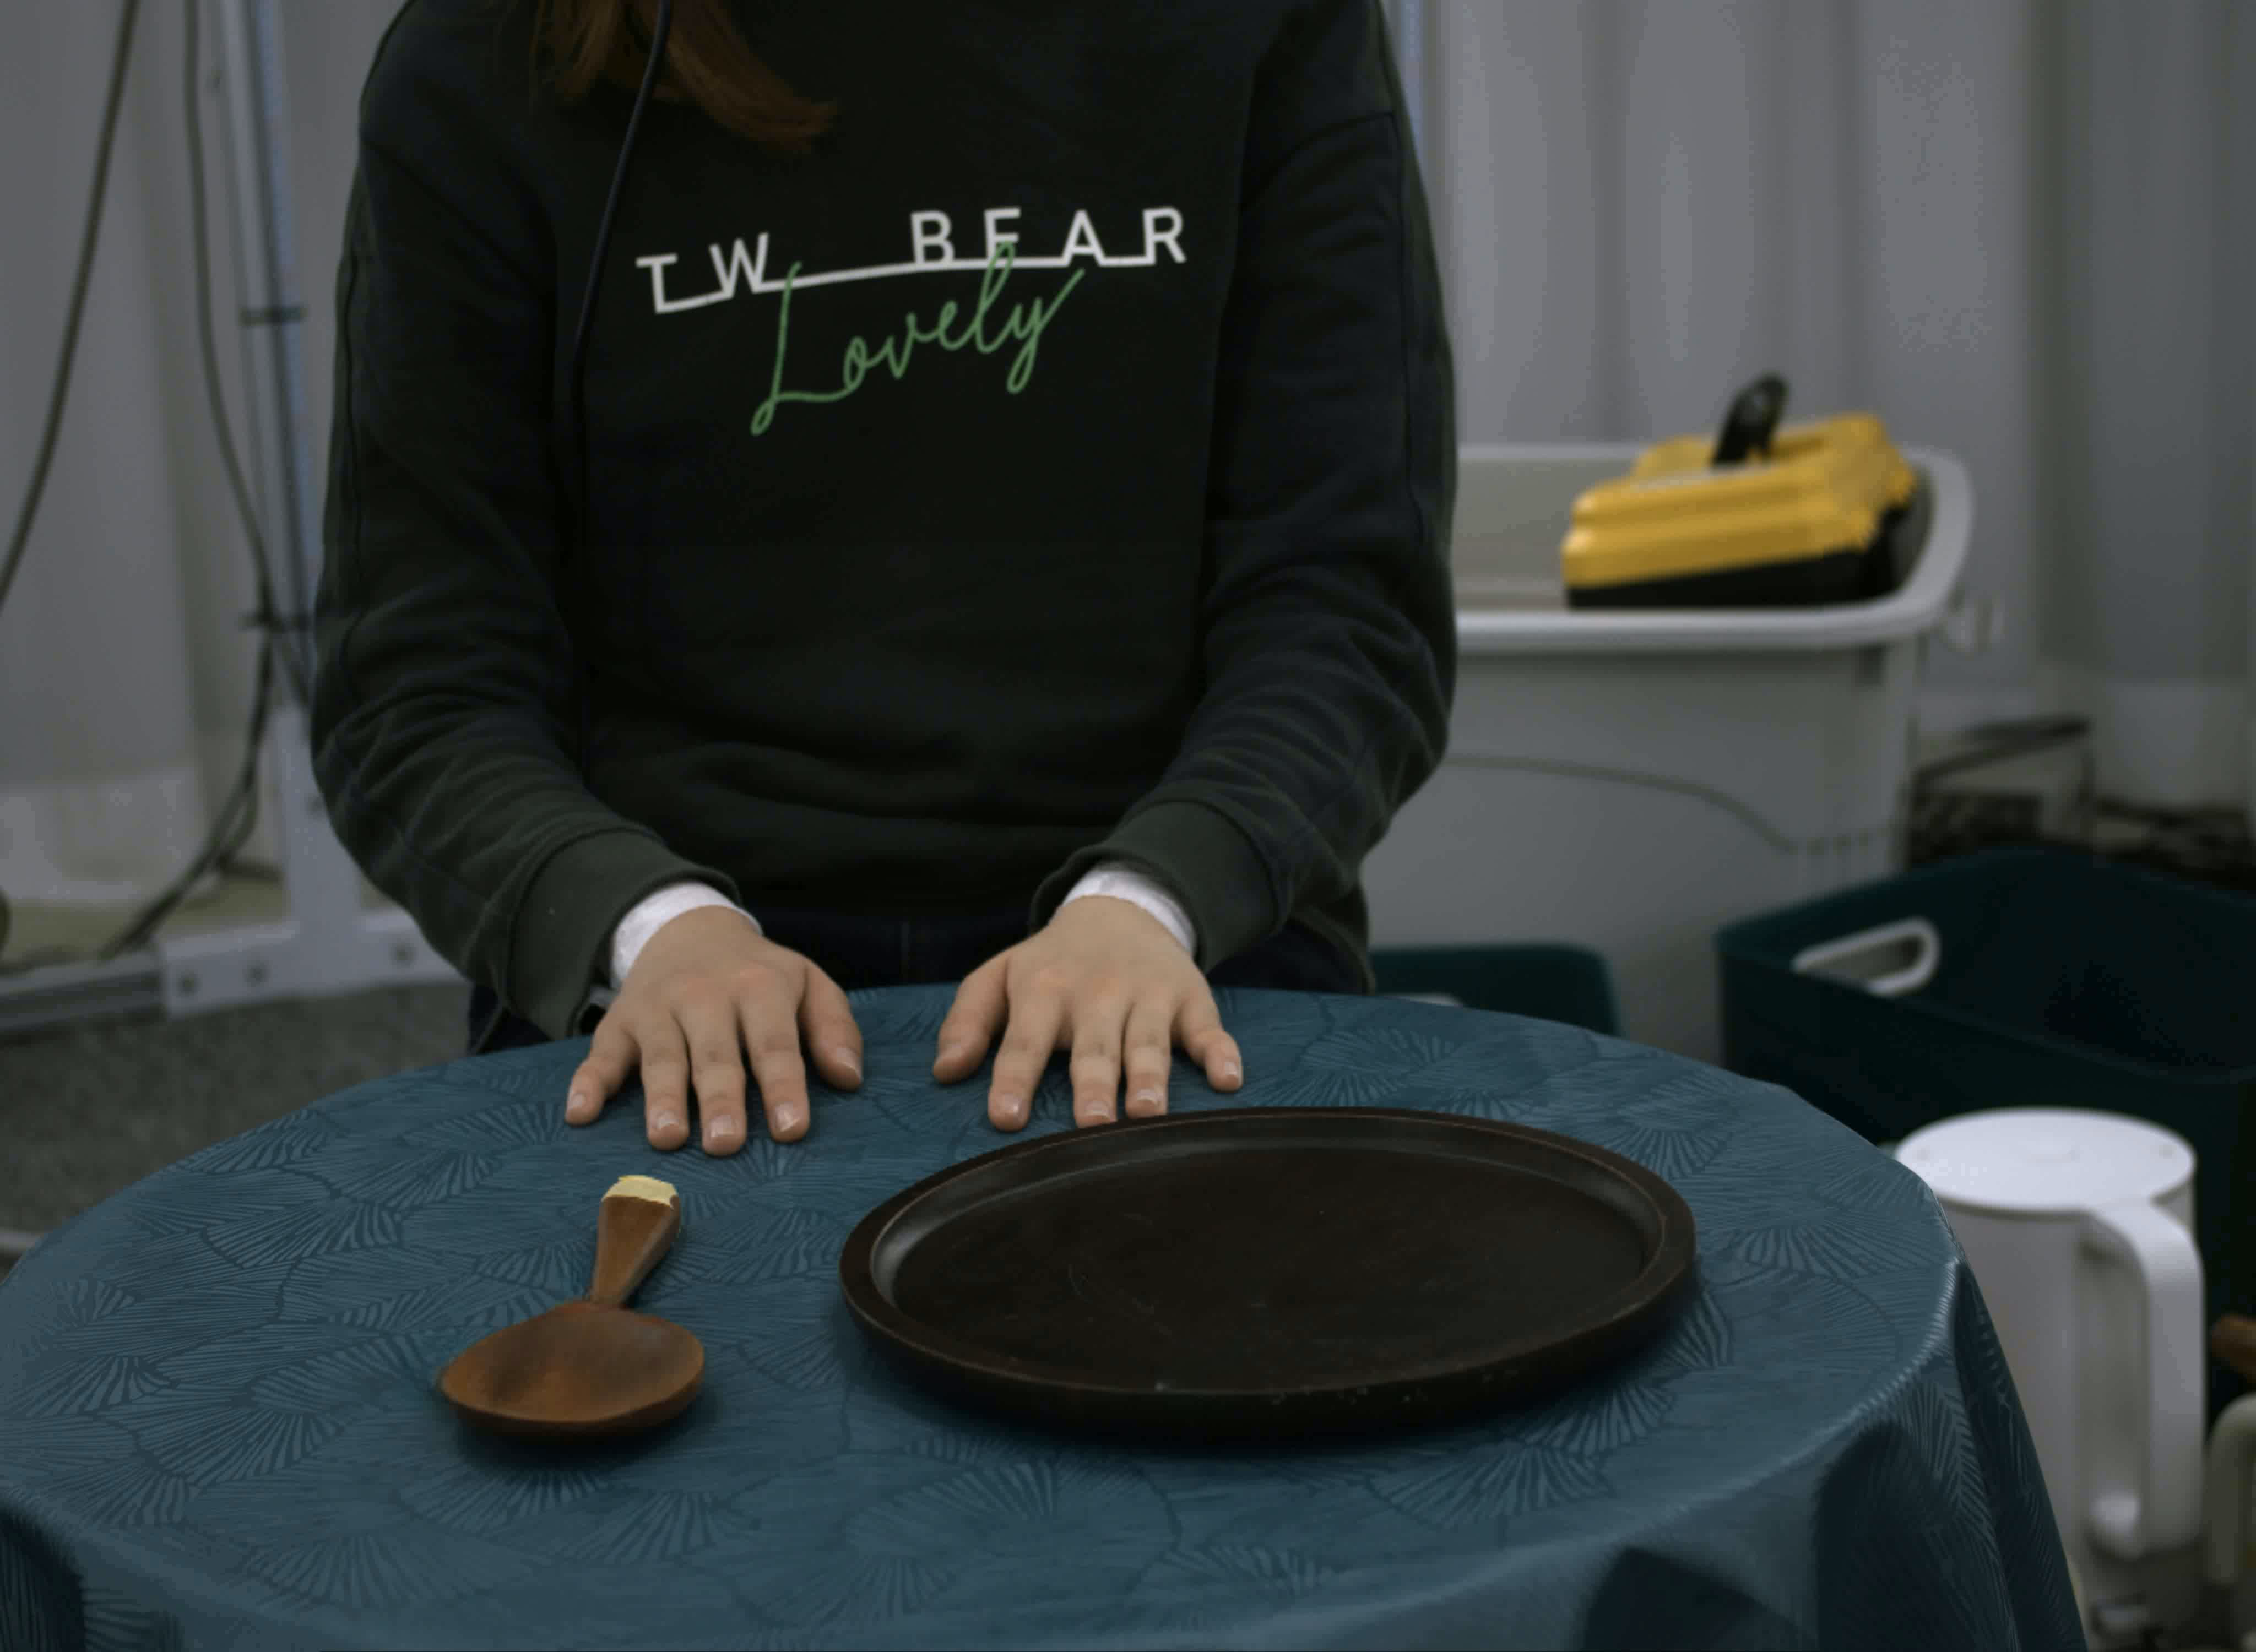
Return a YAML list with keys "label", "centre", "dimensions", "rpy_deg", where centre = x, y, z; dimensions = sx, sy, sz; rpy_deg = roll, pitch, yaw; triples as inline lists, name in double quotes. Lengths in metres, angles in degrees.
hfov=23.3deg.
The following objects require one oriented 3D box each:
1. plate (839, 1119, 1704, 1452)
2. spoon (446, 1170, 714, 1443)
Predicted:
- label: "plate"
  centre: [0.042, 0.131, 1.602]
  dimensions: [0.254, 0.029, 0.256]
  rpy_deg: [-2, 16, 0]
- label: "spoon"
  centre: [-0.153, 0.142, 1.607]
  dimensions: [0.075, 0.017, 0.217]
  rpy_deg: [-2, 15, 2]
